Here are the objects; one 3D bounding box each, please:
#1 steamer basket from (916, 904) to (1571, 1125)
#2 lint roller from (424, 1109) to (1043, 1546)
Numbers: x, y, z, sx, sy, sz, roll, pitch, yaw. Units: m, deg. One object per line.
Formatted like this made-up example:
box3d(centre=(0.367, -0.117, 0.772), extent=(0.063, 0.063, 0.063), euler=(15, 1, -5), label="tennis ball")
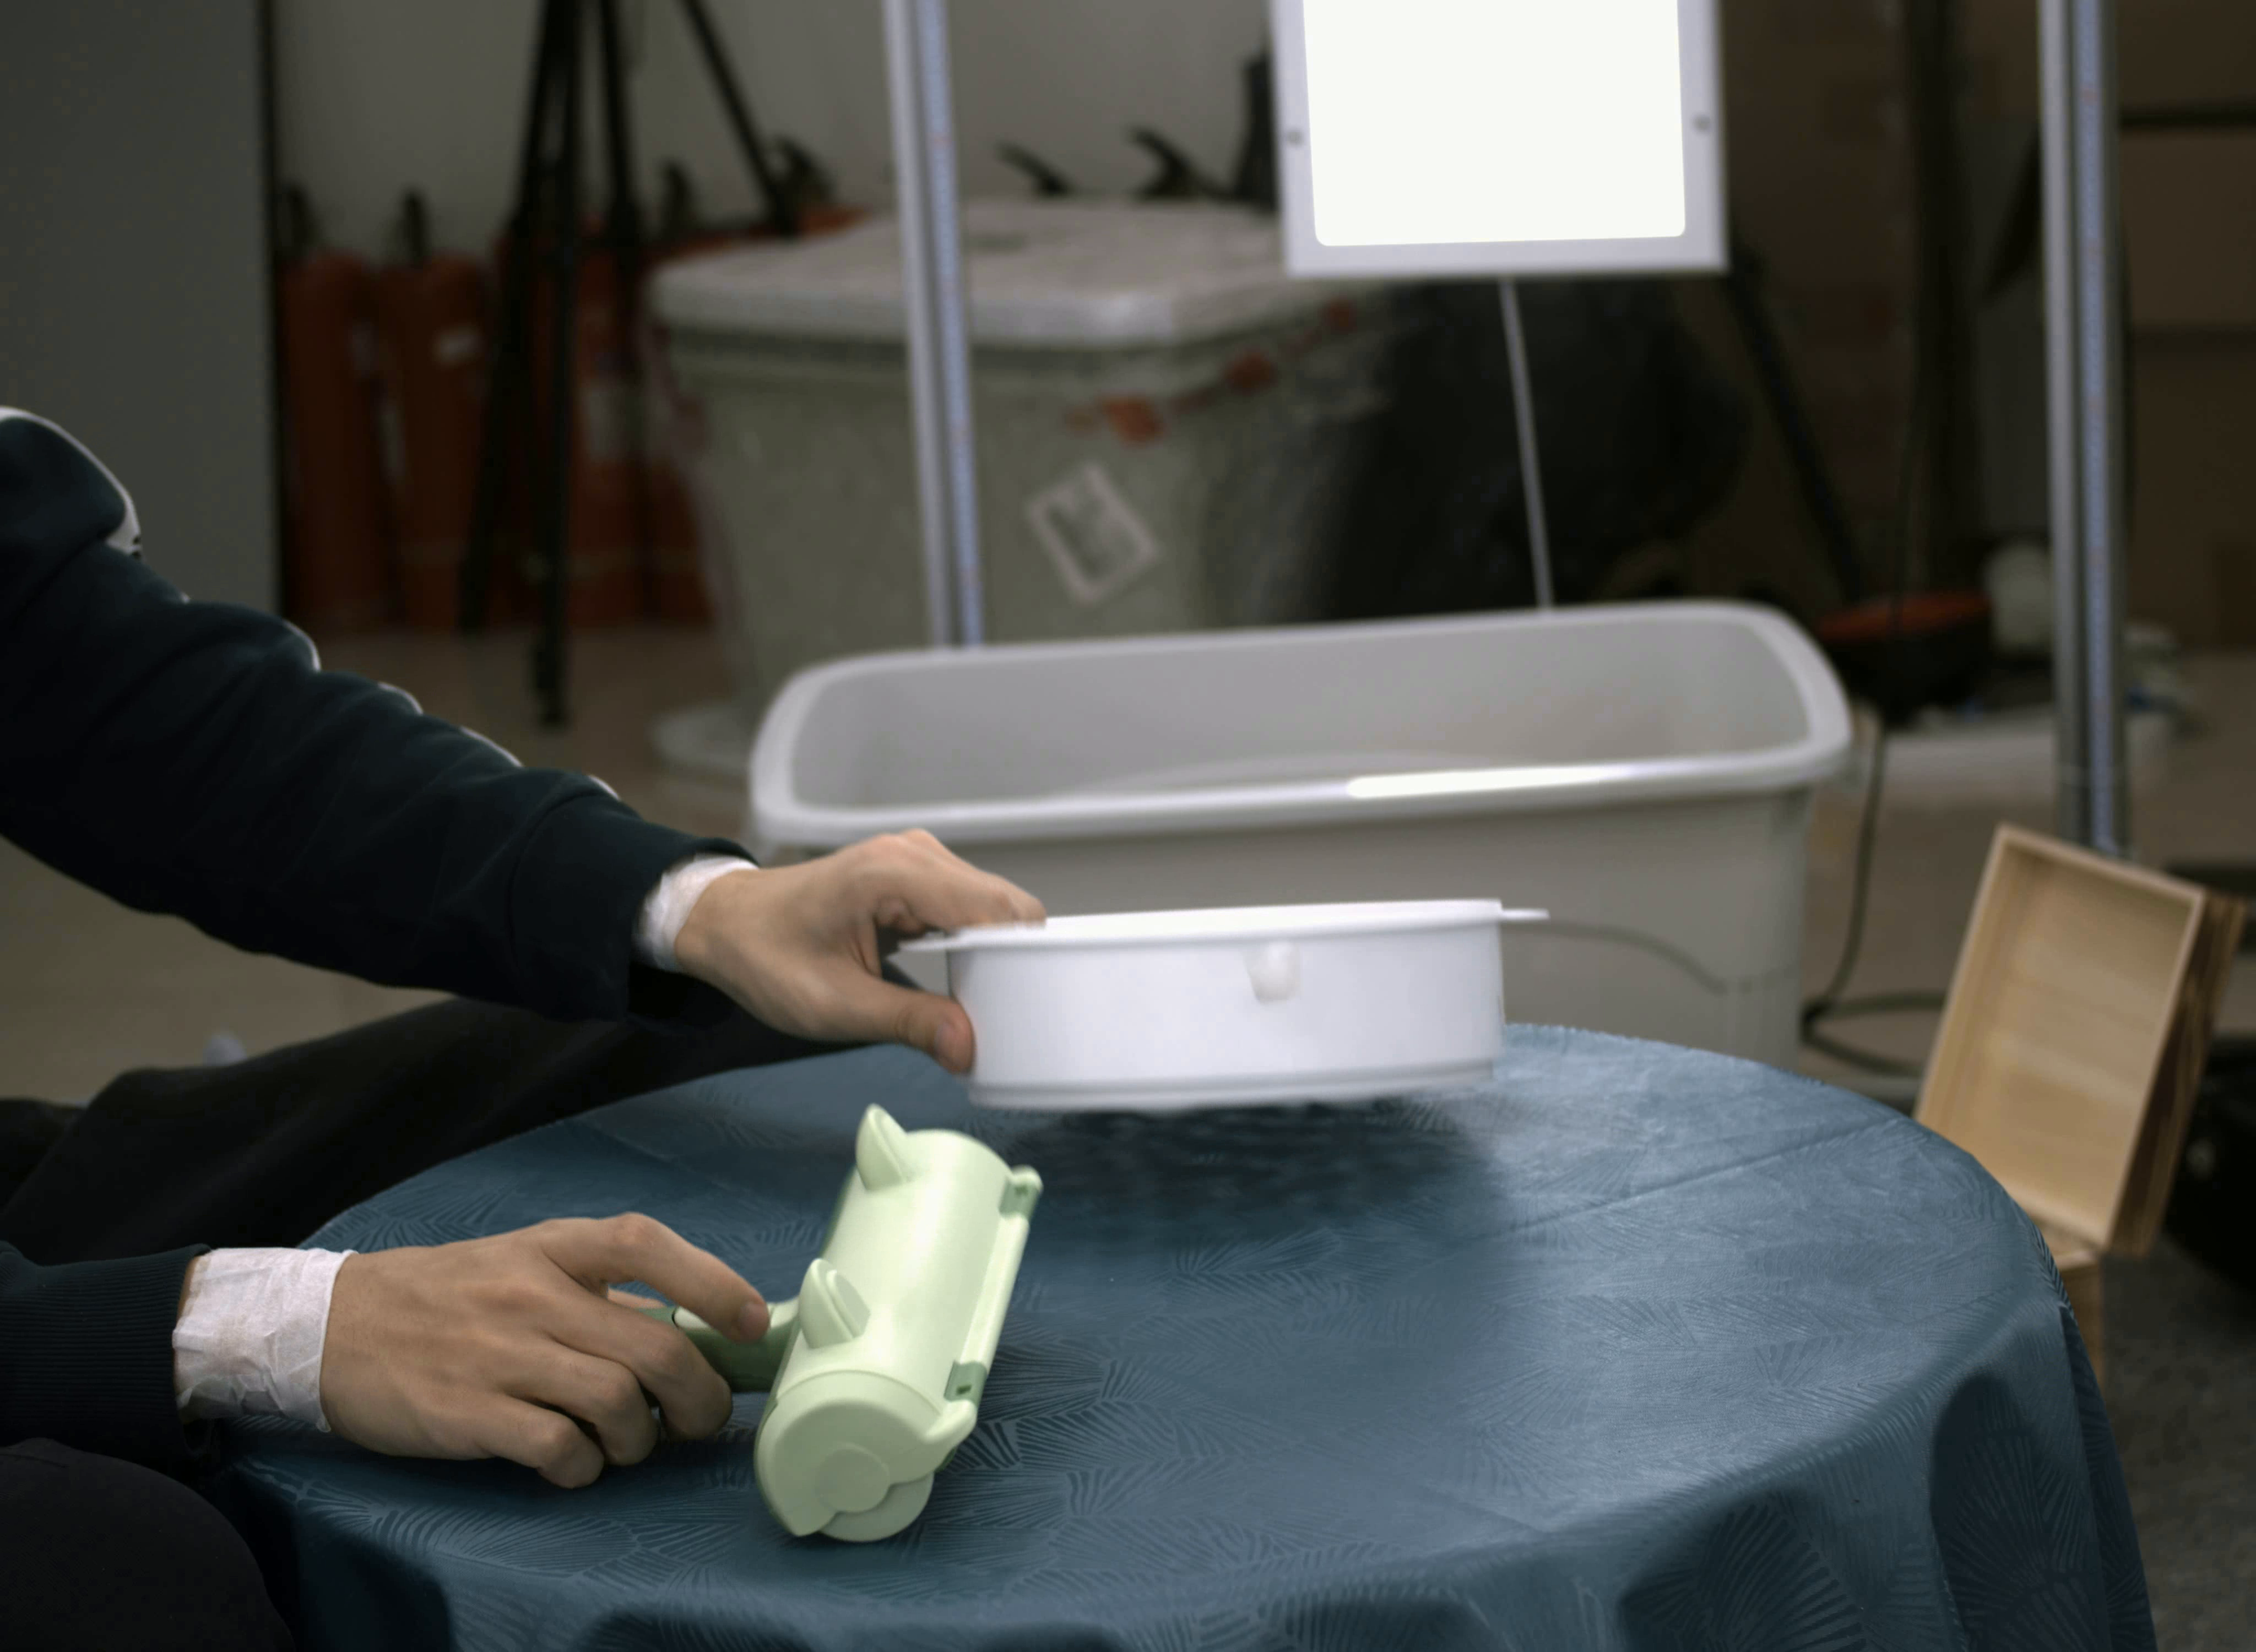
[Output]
box3d(centre=(0.041, 0.065, 1.924), extent=(0.228, 0.069, 0.203), euler=(-1, 2, -7), label="steamer basket")
box3d(centre=(-0.127, 0.146, 1.675), extent=(0.184, 0.082, 0.197), euler=(0, 19, 8), label="lint roller")
